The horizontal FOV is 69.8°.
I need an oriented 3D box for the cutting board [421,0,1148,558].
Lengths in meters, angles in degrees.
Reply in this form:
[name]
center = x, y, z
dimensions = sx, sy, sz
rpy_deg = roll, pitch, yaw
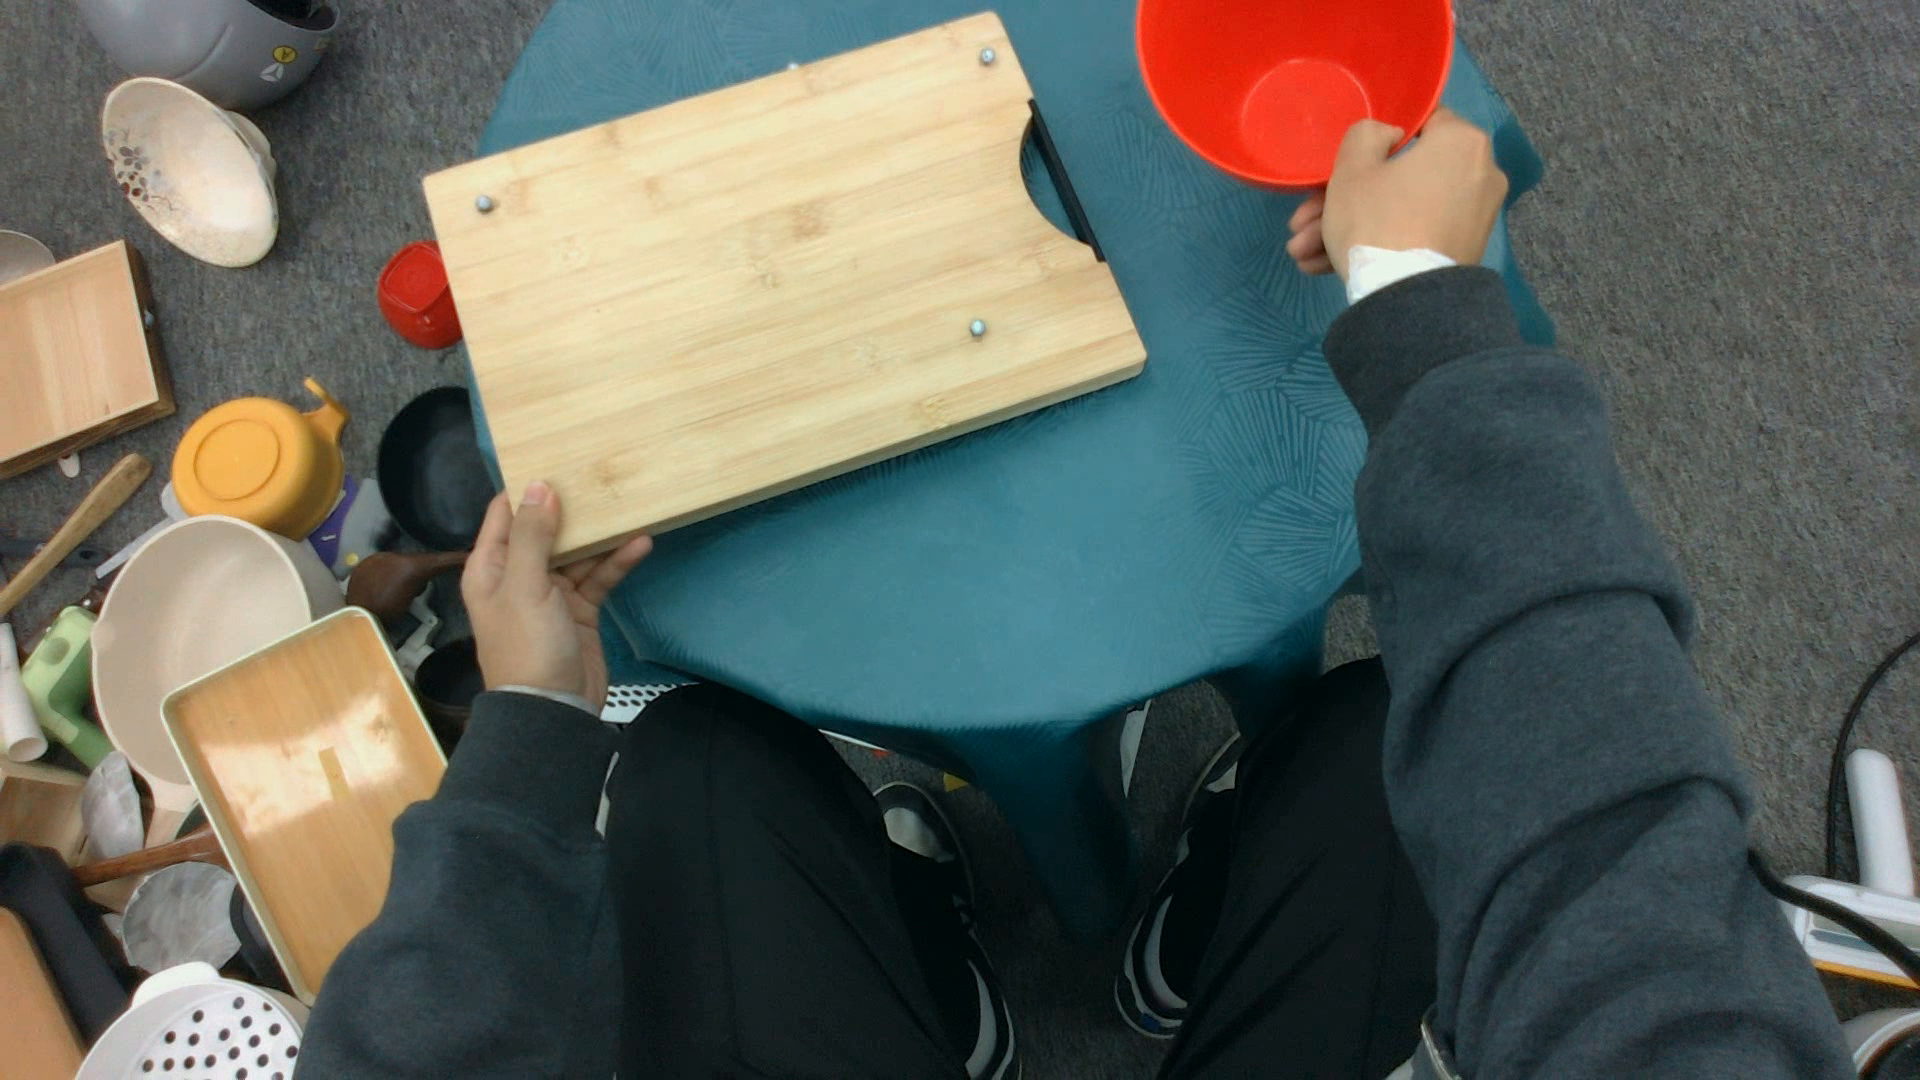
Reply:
[cutting board]
center = -0.103, -0.154, 0.758
dimensions = 0.349, 0.023, 0.251
rpy_deg = -20, 73, -7

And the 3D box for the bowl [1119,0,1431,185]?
[bowl]
center = 0.157, -0.242, 0.698
dimensions = 0.148, 0.104, 0.148
rpy_deg = -2, 78, 9
